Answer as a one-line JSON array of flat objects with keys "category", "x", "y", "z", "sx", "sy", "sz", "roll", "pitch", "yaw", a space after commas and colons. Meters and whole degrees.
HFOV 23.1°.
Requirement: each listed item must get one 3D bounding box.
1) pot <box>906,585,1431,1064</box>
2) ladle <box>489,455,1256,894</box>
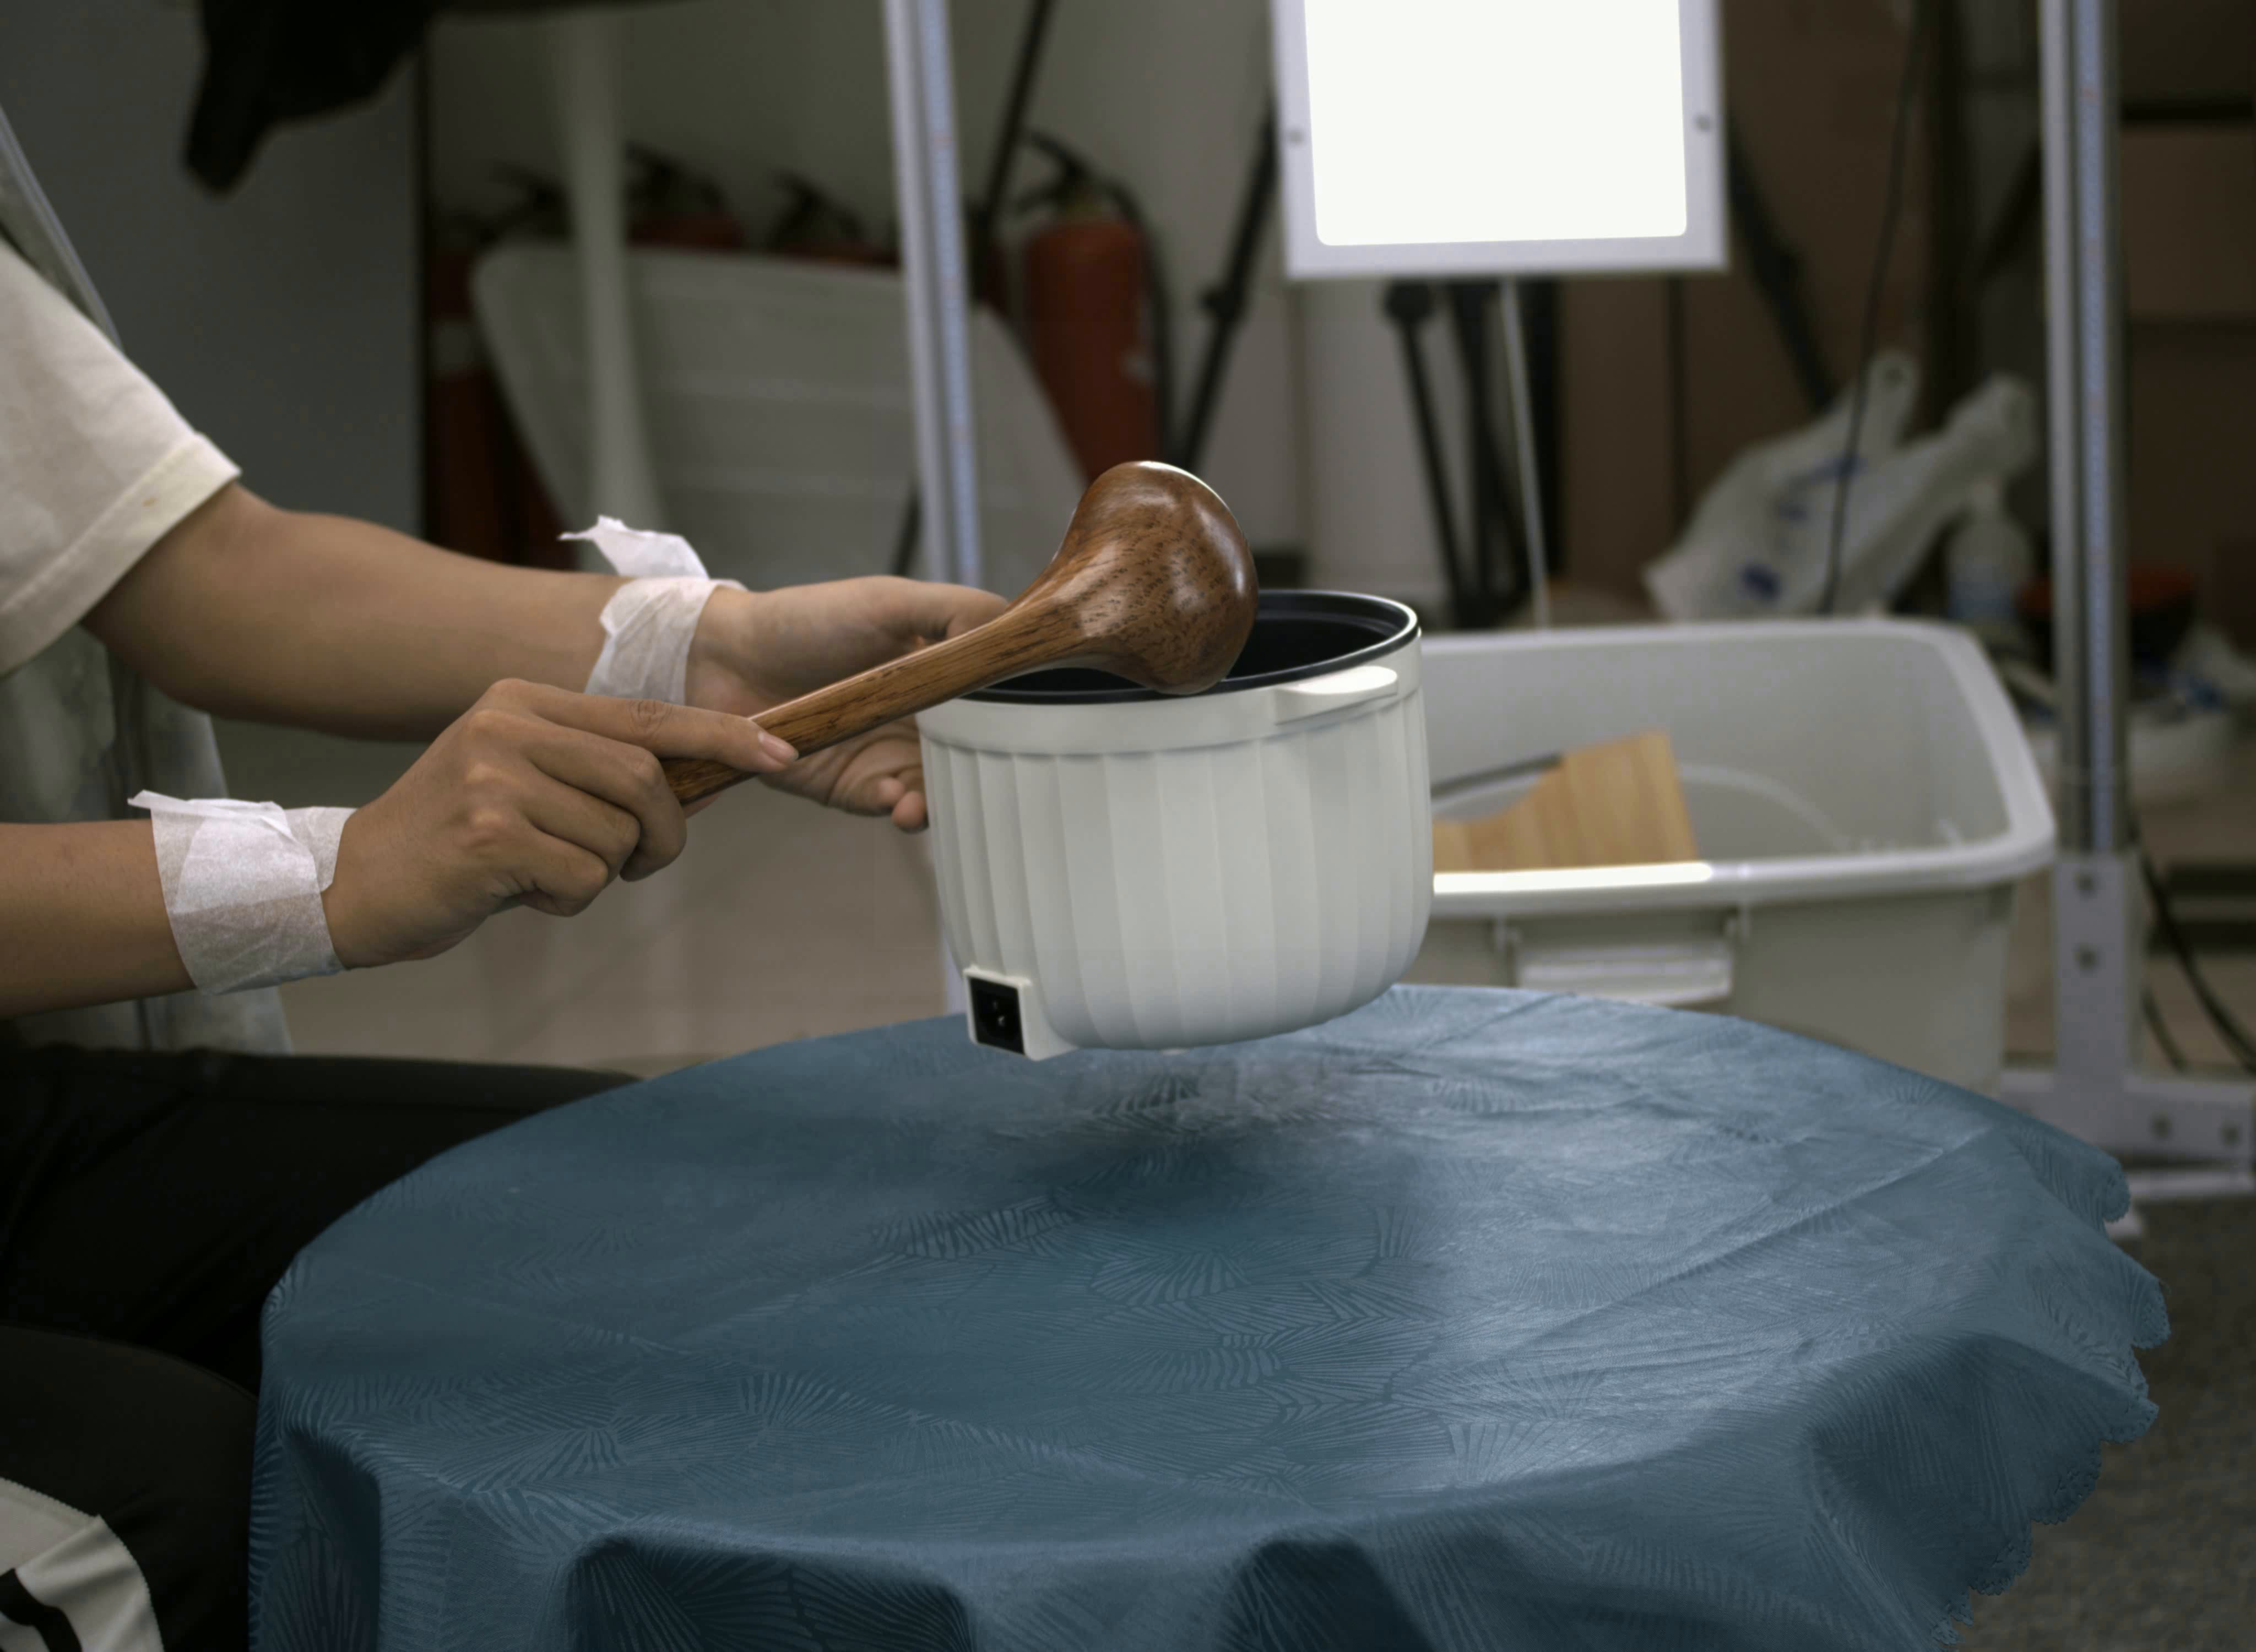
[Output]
[{"category": "pot", "x": 0.022, "y": -0.003, "z": 1.958, "sx": 0.186, "sy": 0.143, "sz": 0.245, "roll": -18, "pitch": 18, "yaw": -32}, {"category": "ladle", "x": -0.085, "y": -0.044, "z": 1.839, "sx": 0.273, "sy": 0.082, "sz": 0.076, "roll": -24, "pitch": -3, "yaw": -1}]
